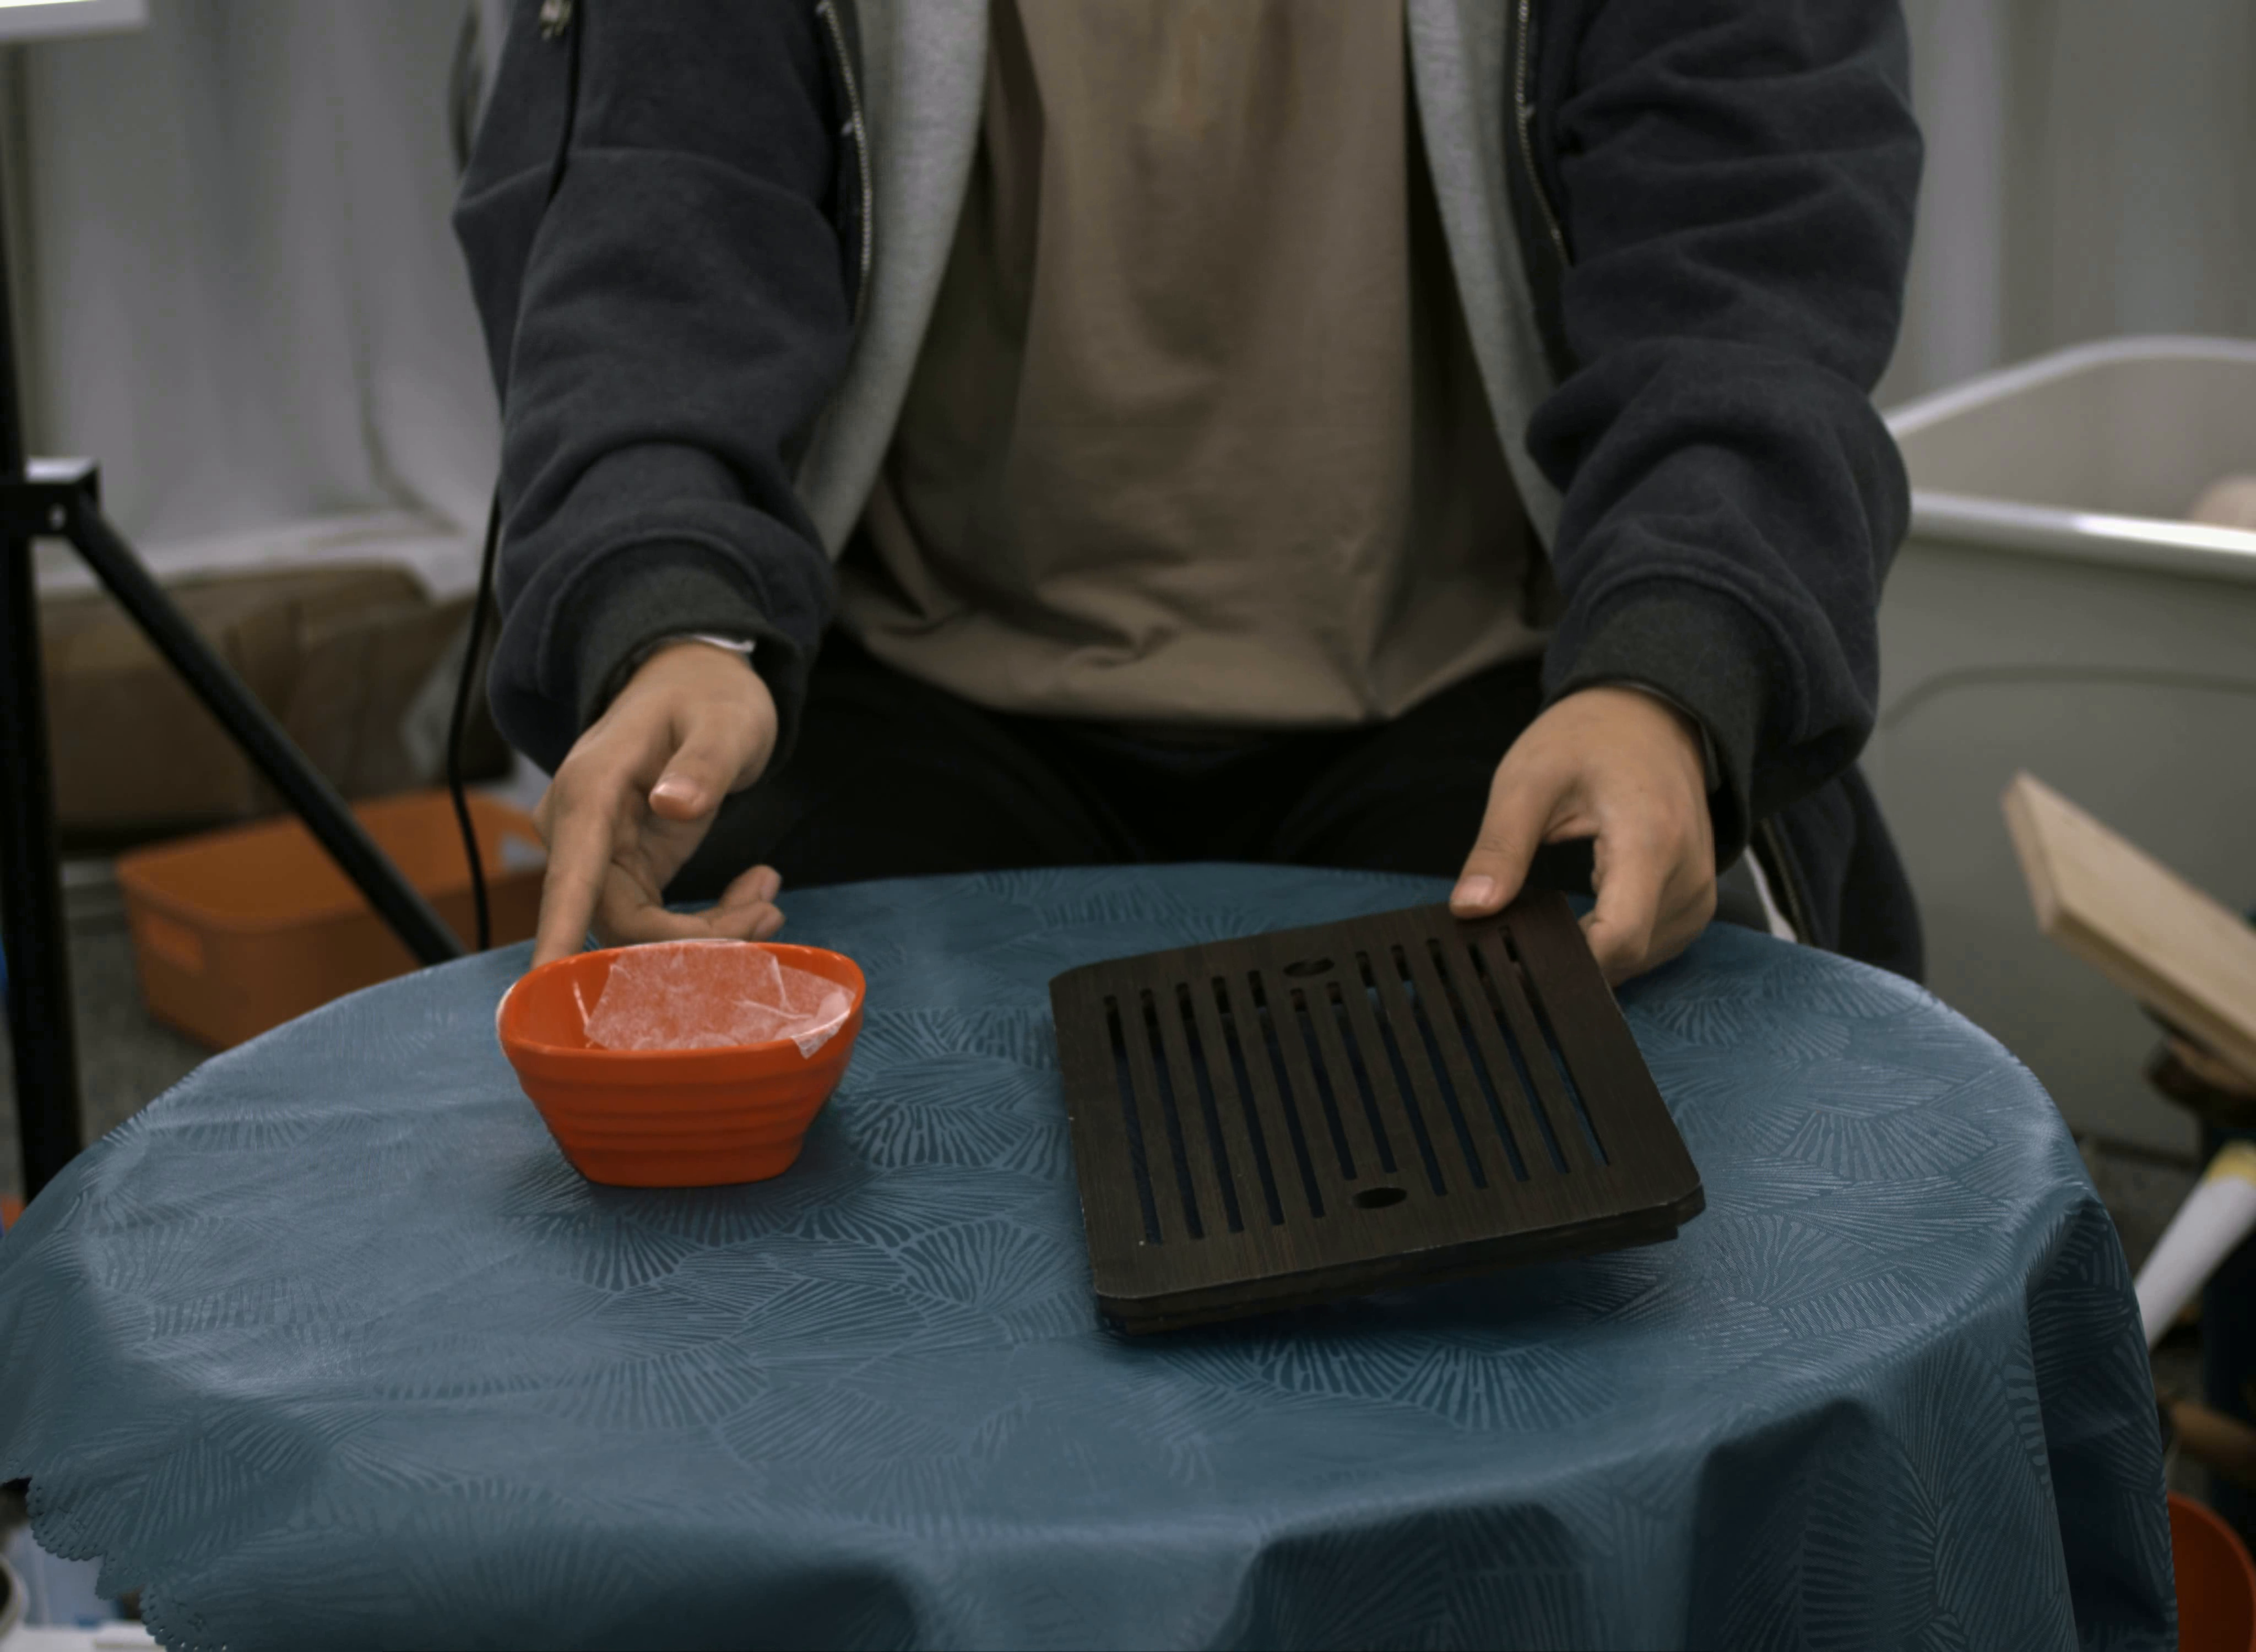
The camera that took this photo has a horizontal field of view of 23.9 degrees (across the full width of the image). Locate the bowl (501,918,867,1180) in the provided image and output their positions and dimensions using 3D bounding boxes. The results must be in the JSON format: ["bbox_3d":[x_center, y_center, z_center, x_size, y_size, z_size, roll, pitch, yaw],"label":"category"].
[{"bbox_3d":[-0.132,0.070,1.609,0.118,0.051,0.119,-4,20,0],"label":"bowl"}]

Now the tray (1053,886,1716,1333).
[{"bbox_3d":[0.069,0.081,1.576,0.169,0.018,0.308,-11,16,0],"label":"tray"}]
